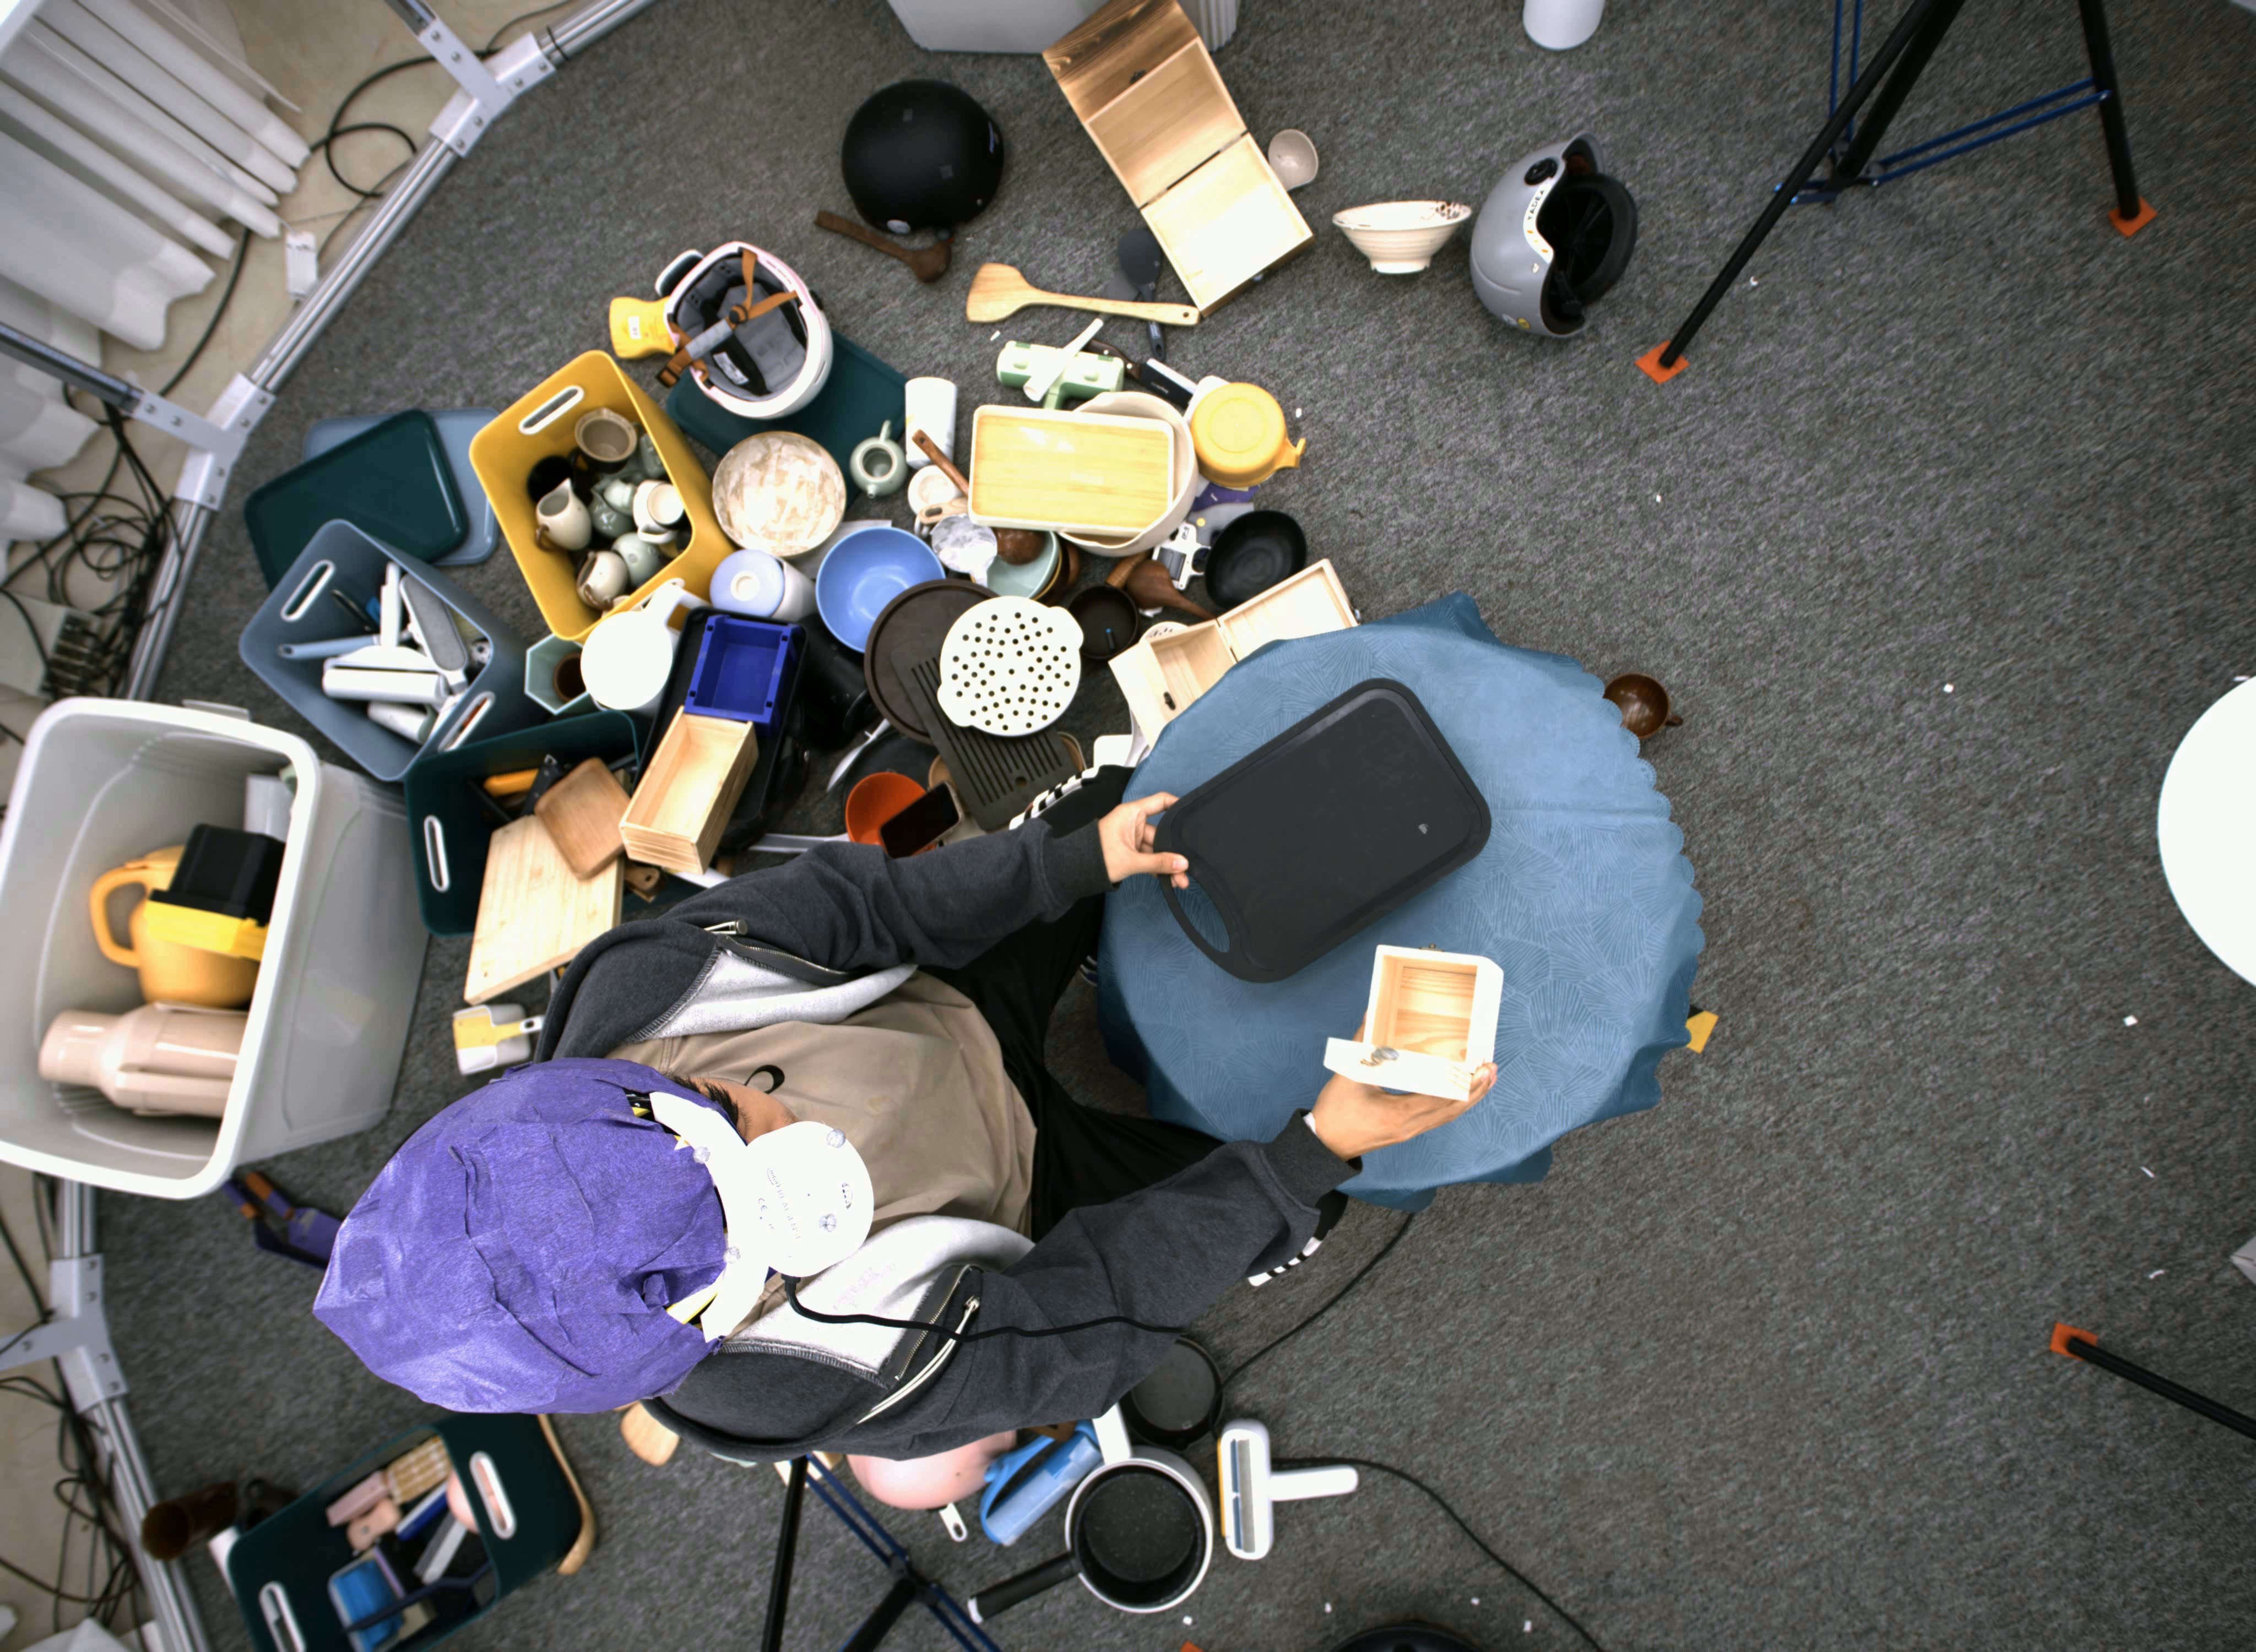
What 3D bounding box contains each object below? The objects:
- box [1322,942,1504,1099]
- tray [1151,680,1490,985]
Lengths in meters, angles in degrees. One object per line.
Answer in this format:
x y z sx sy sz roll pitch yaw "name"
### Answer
0.253 0.162 1.205 0.103 0.185 0.133 6 80 27 "box"
0.186 0.010 1.379 0.326 0.010 0.211 -32 89 4 "tray"
